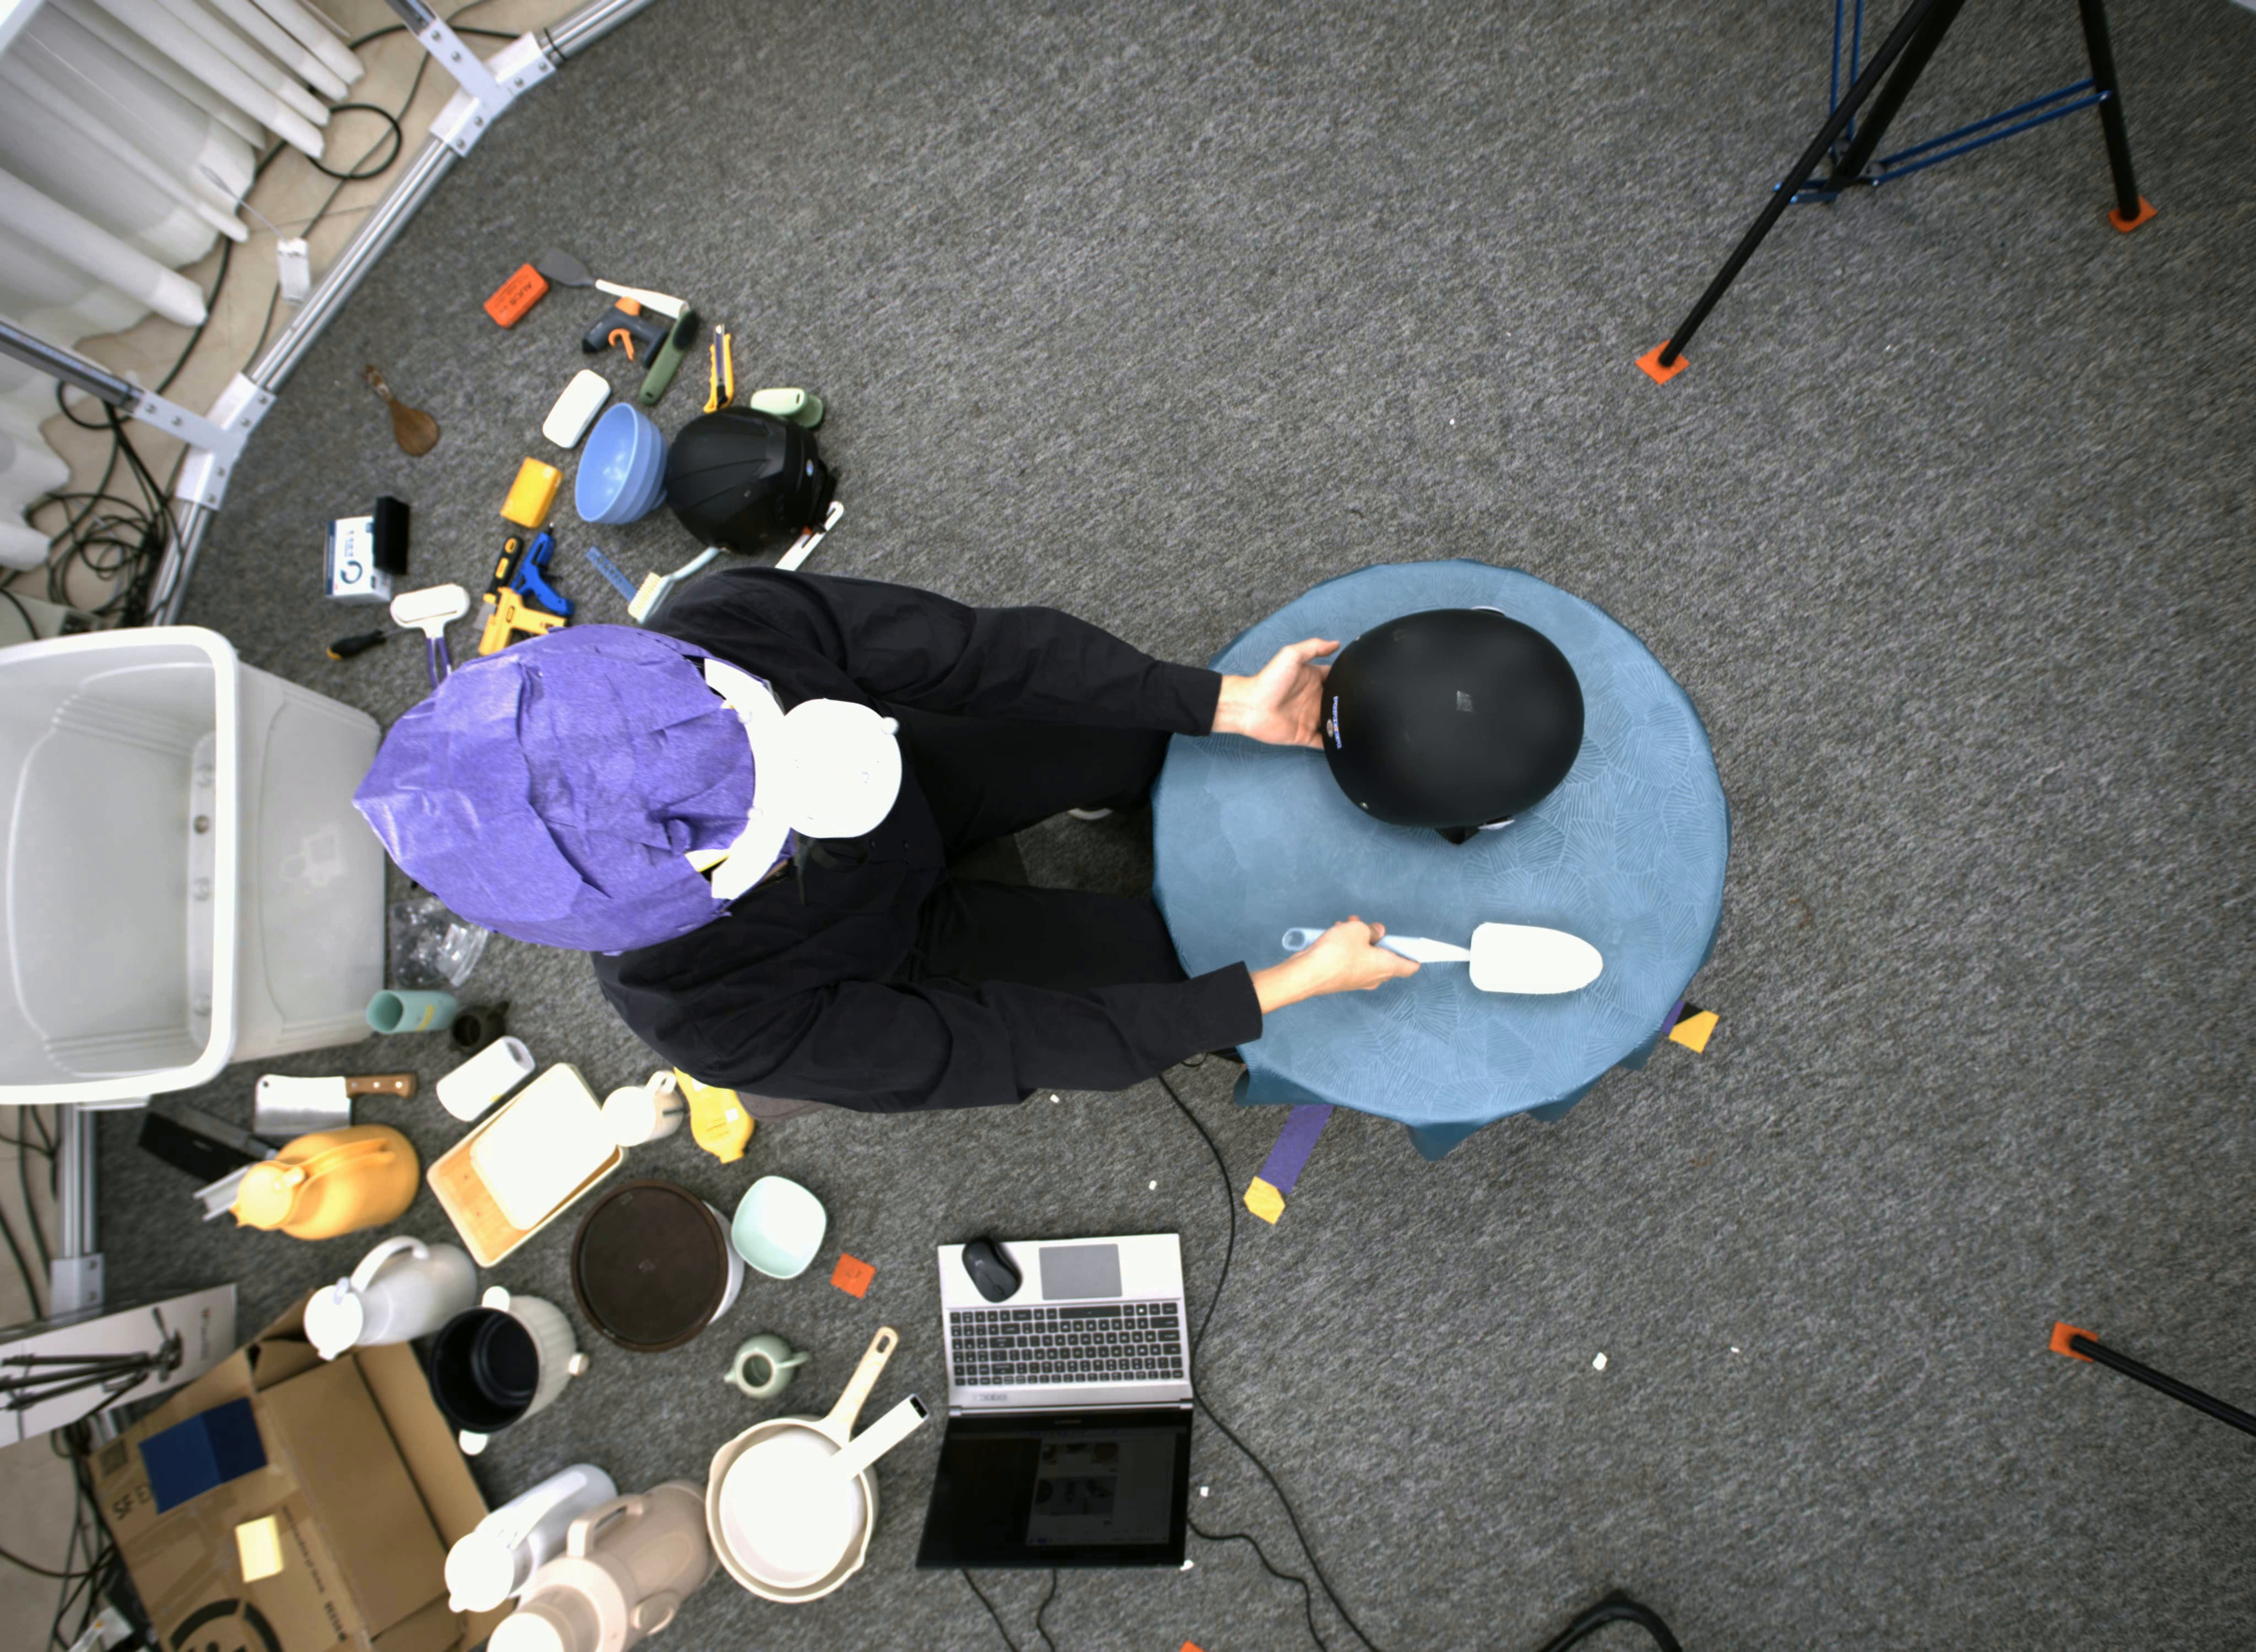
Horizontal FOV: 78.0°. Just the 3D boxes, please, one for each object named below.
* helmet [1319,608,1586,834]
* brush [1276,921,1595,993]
[{"bbox_3d":[0.332,-0.110,1.359,0.273,0.166,0.230,0,90,0],"label":"helmet"},{"bbox_3d":[0.312,0.121,1.411,0.326,0.087,0.081,5,50,4],"label":"brush"}]
